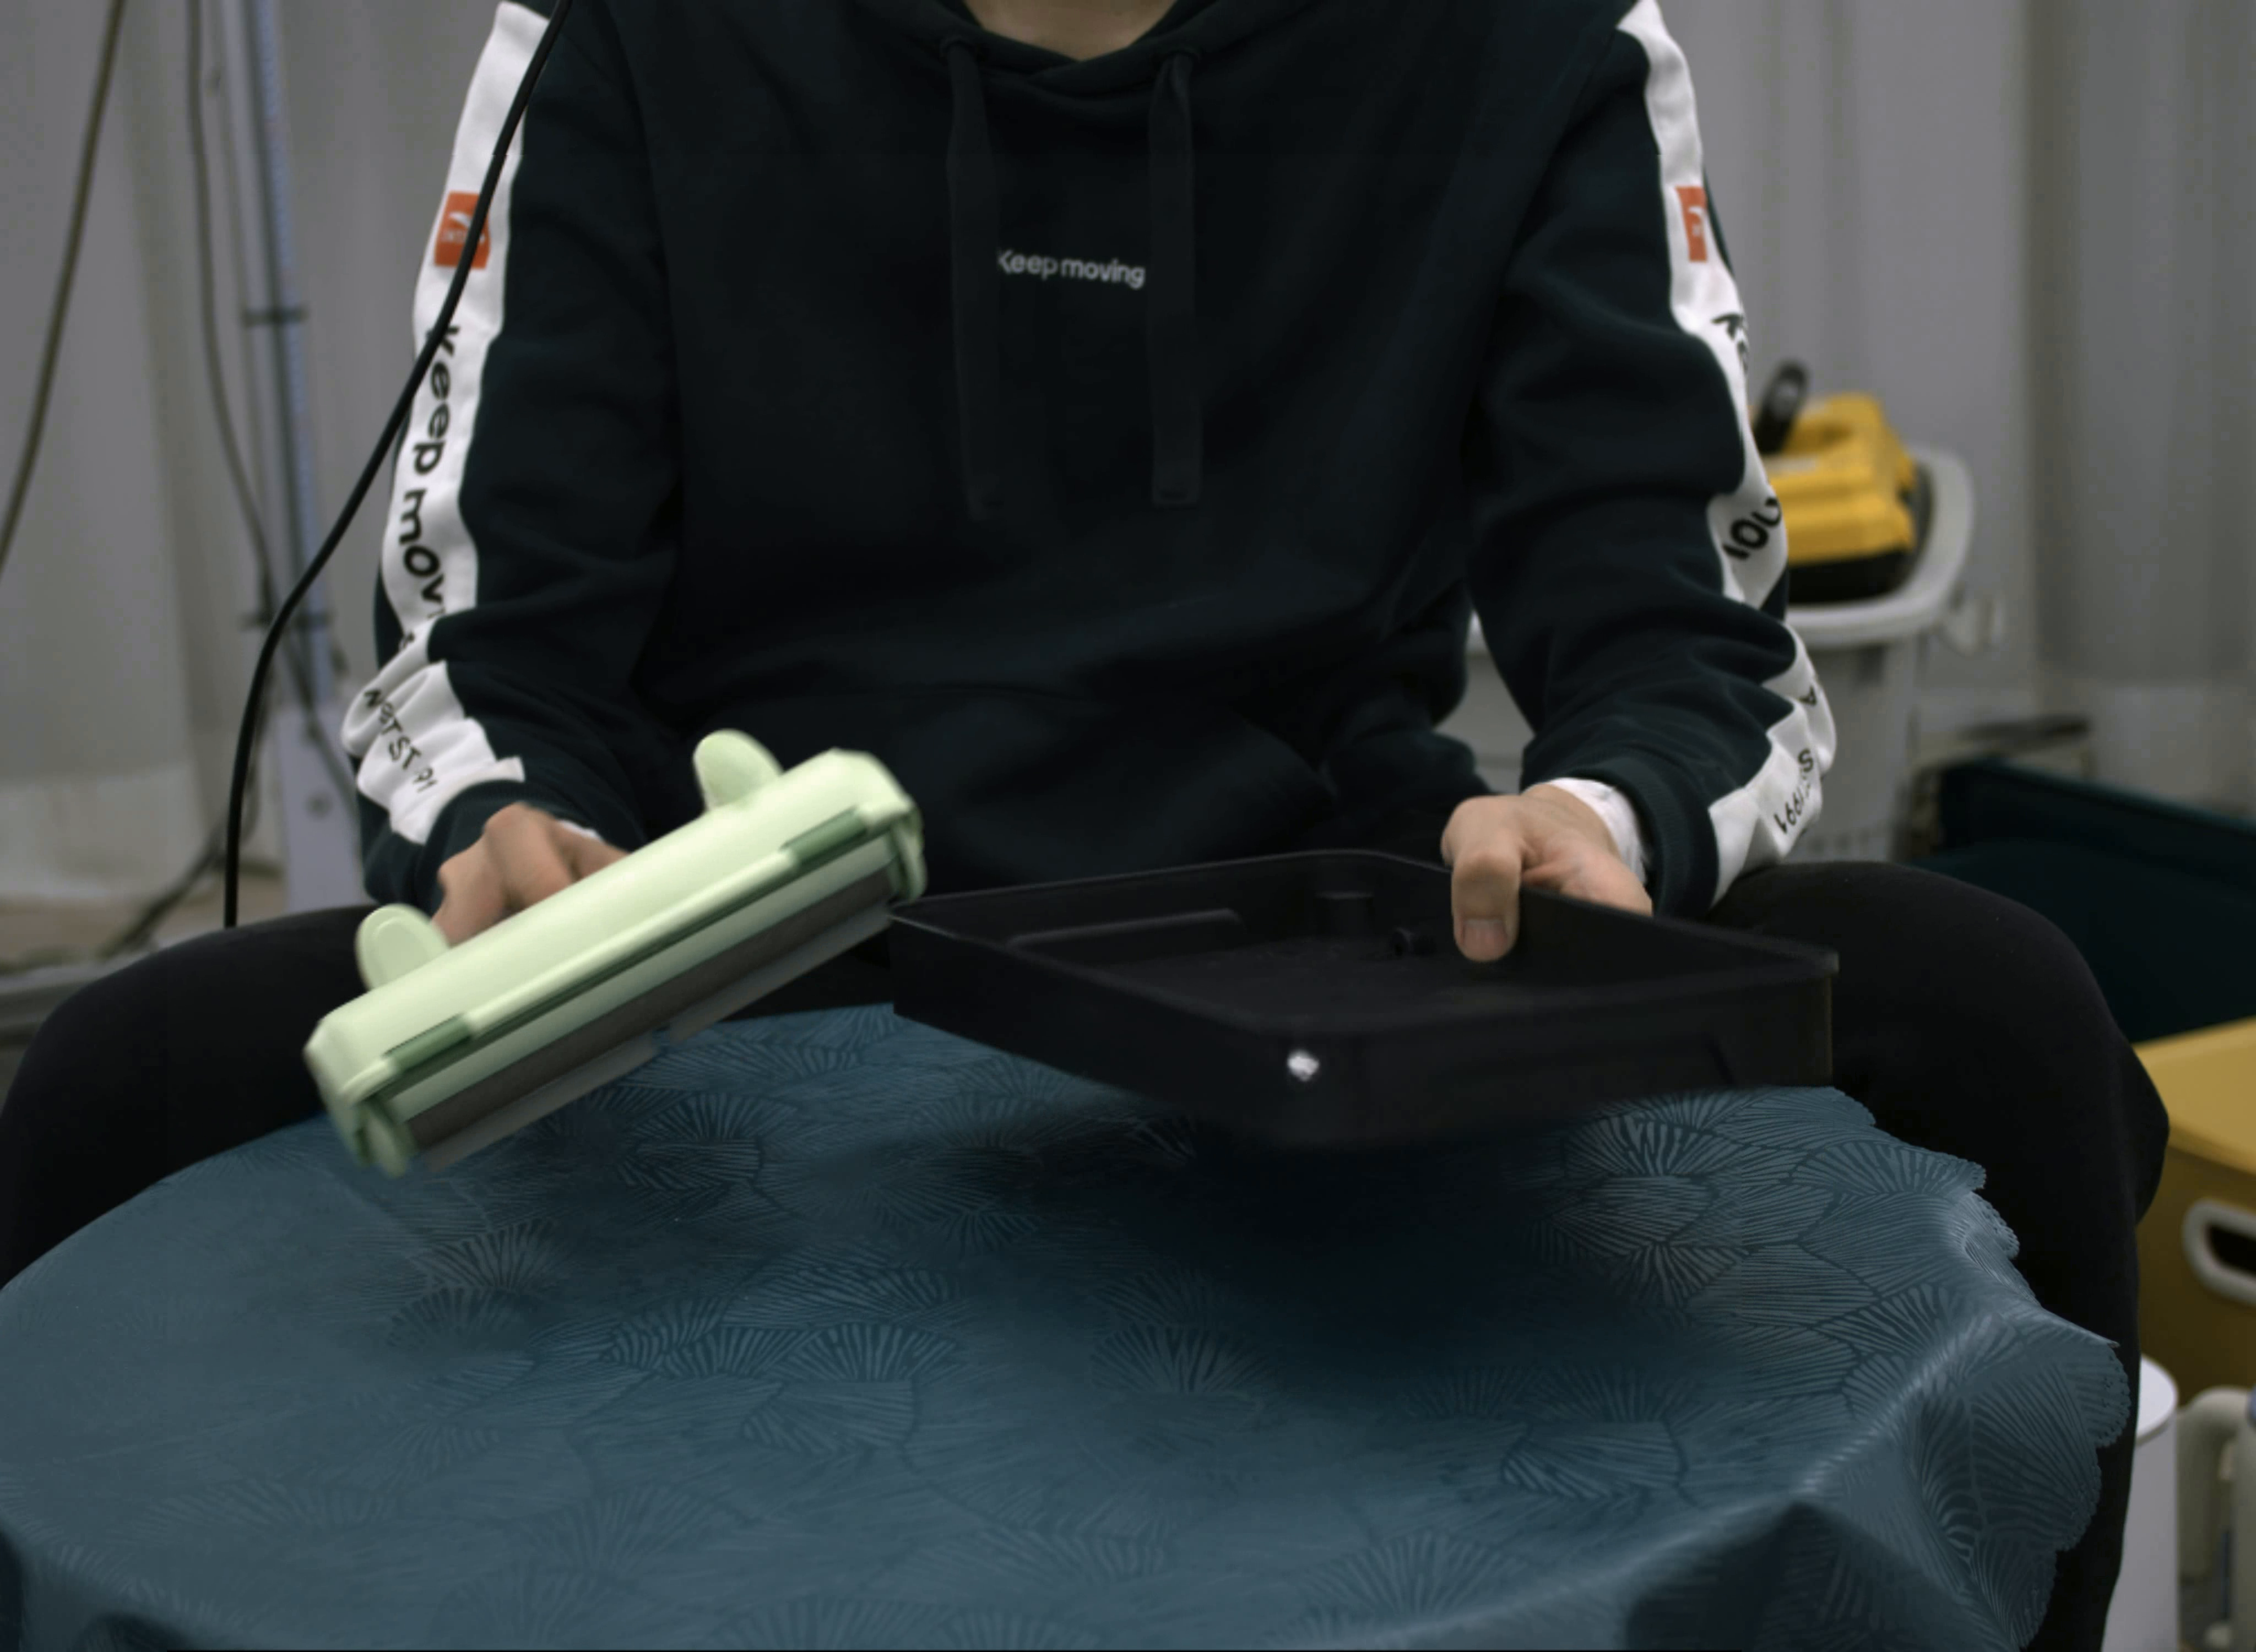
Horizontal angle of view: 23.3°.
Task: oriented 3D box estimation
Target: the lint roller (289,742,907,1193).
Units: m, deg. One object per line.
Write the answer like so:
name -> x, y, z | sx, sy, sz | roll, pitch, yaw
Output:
lint roller -> -0.180, 0.034, 1.718 | 0.198, 0.082, 0.184 | -28, 13, -14

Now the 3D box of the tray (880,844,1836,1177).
tray -> 0.062, 0.052, 1.658 | 0.183, 0.037, 0.320 | -7, 10, -23
